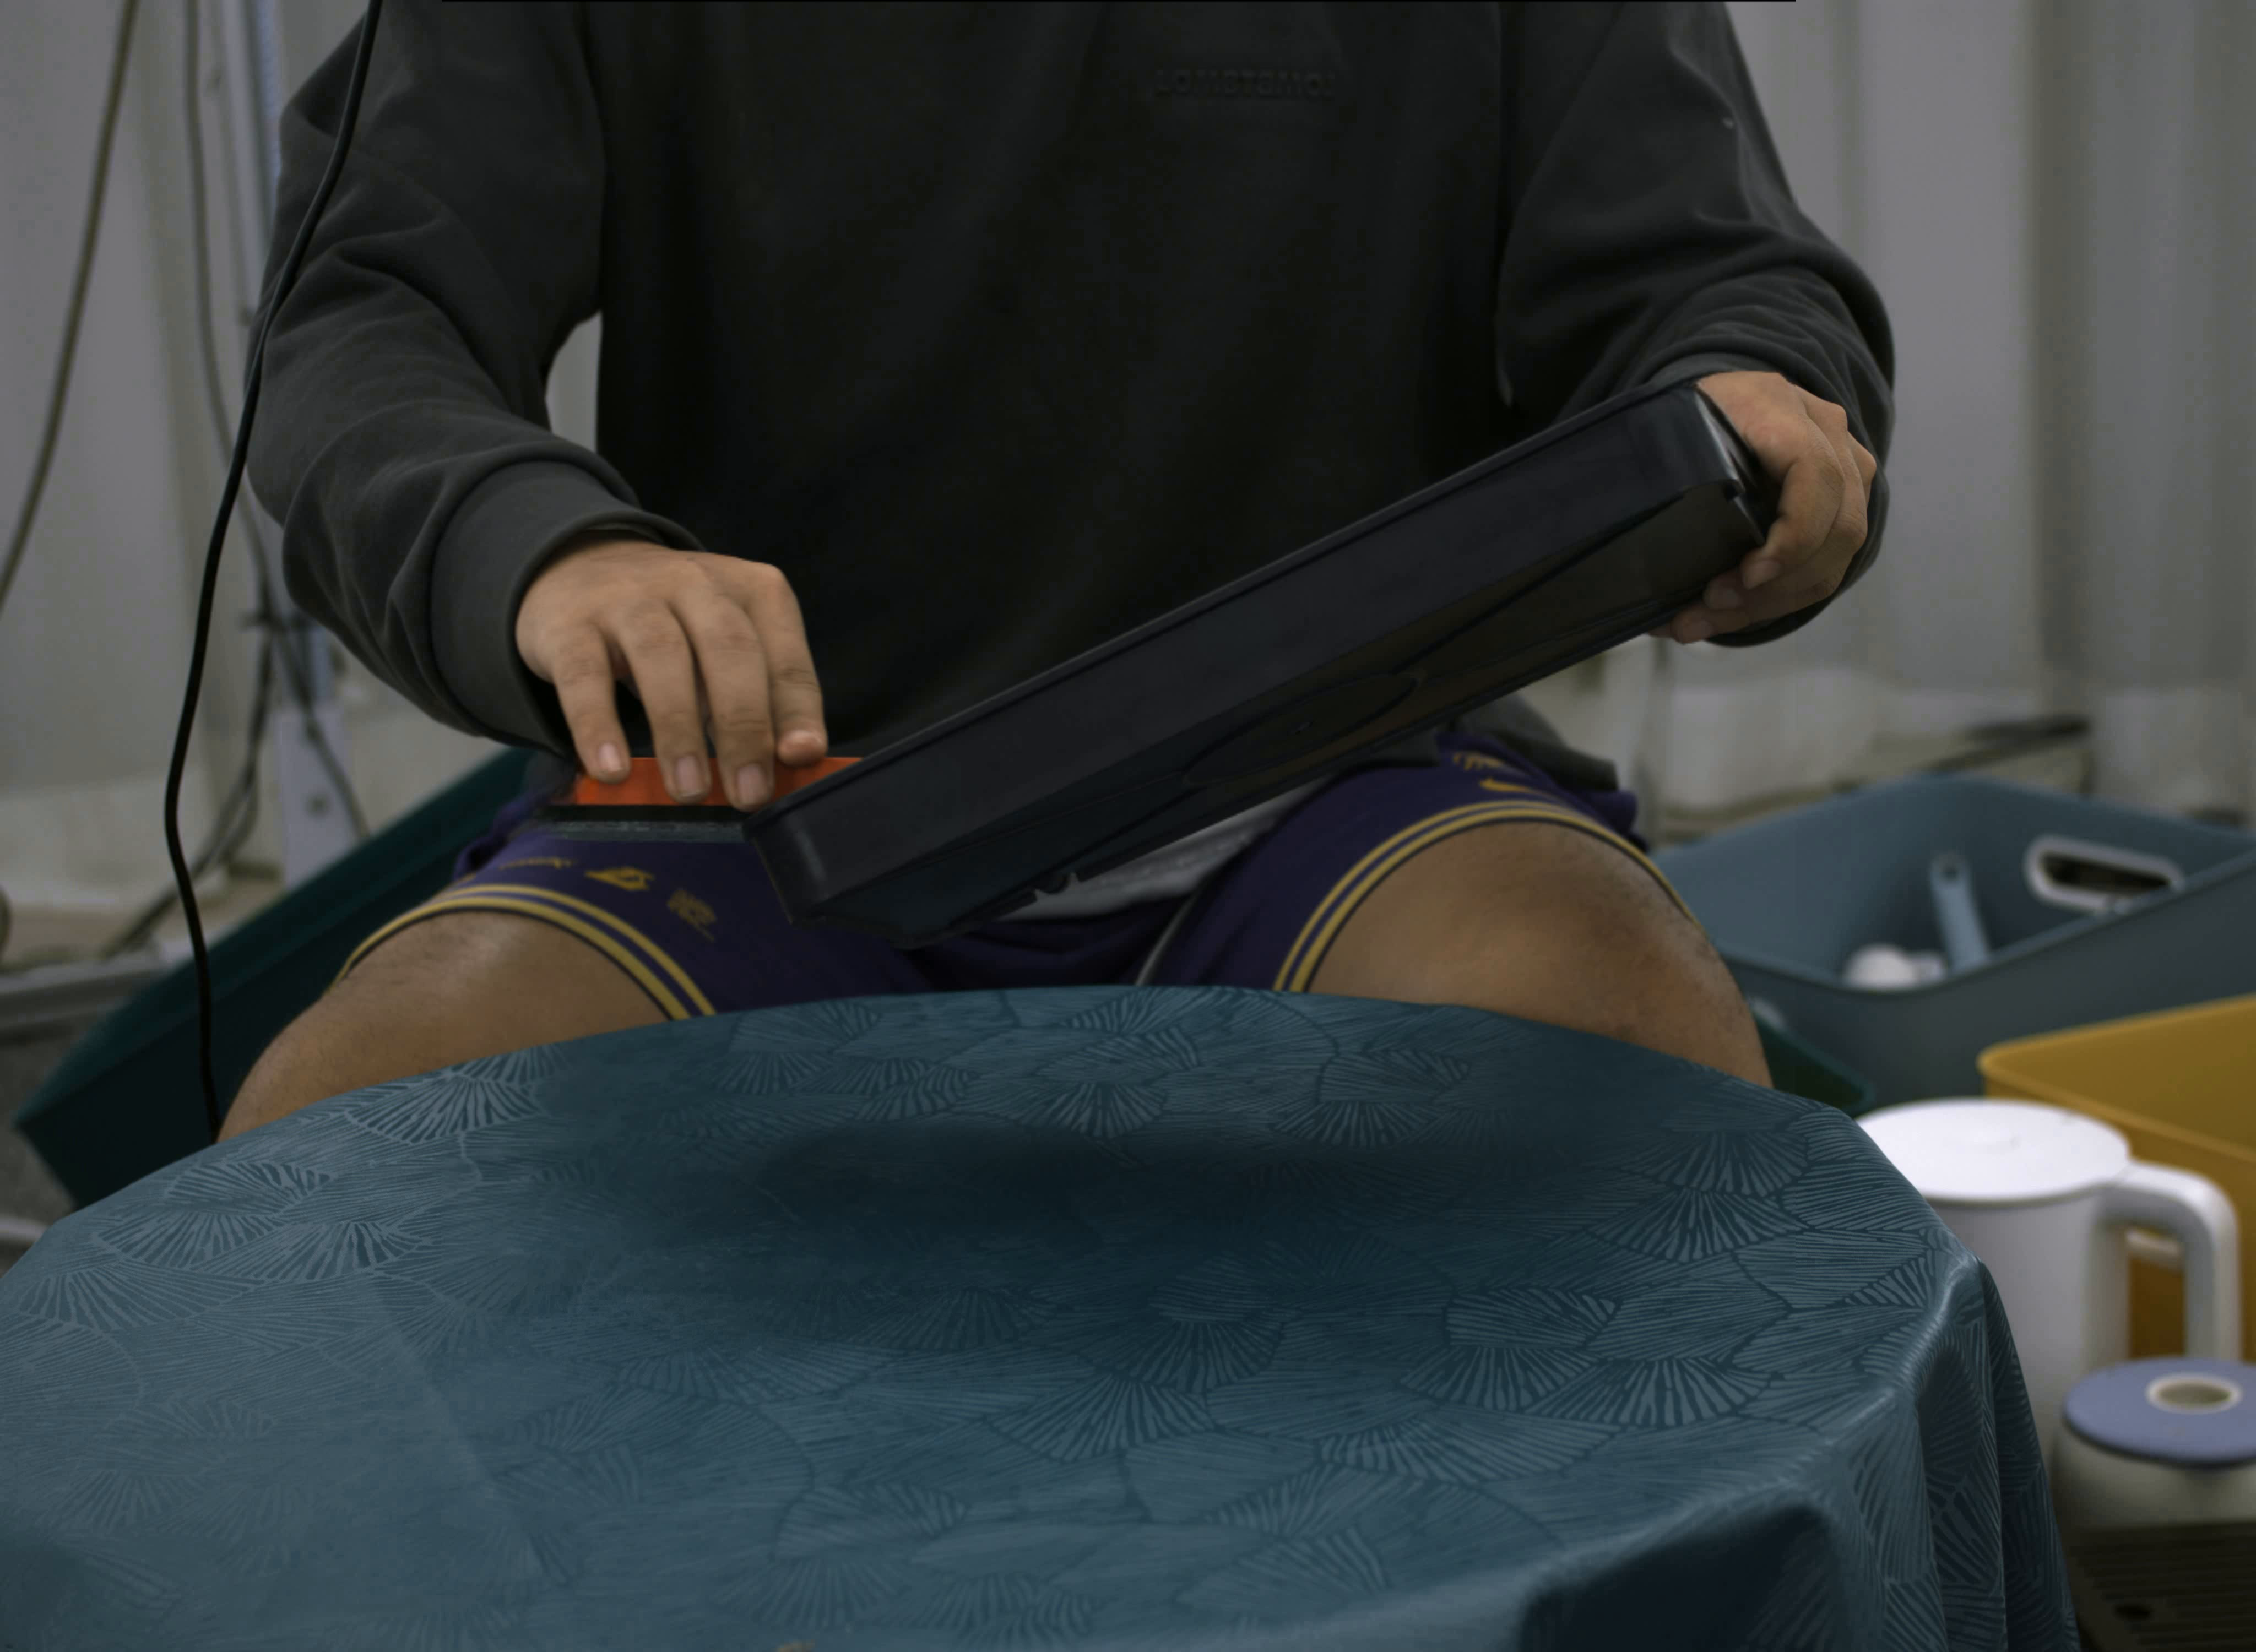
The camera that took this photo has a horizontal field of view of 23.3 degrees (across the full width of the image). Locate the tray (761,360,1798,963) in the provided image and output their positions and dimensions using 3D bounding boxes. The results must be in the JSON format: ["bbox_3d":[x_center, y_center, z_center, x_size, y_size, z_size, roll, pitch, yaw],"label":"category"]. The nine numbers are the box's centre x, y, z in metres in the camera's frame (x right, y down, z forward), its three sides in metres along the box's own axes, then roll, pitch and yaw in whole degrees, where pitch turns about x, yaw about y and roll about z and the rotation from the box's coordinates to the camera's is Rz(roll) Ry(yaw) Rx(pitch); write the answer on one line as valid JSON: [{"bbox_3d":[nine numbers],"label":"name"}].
[{"bbox_3d":[0.052,-0.045,1.684,0.317,0.037,0.183,-25,-11,8],"label":"tray"}]

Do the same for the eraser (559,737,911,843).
[{"bbox_3d":[-0.120,-0.011,1.688,0.107,0.023,0.058,0,-13,-2],"label":"eraser"}]
